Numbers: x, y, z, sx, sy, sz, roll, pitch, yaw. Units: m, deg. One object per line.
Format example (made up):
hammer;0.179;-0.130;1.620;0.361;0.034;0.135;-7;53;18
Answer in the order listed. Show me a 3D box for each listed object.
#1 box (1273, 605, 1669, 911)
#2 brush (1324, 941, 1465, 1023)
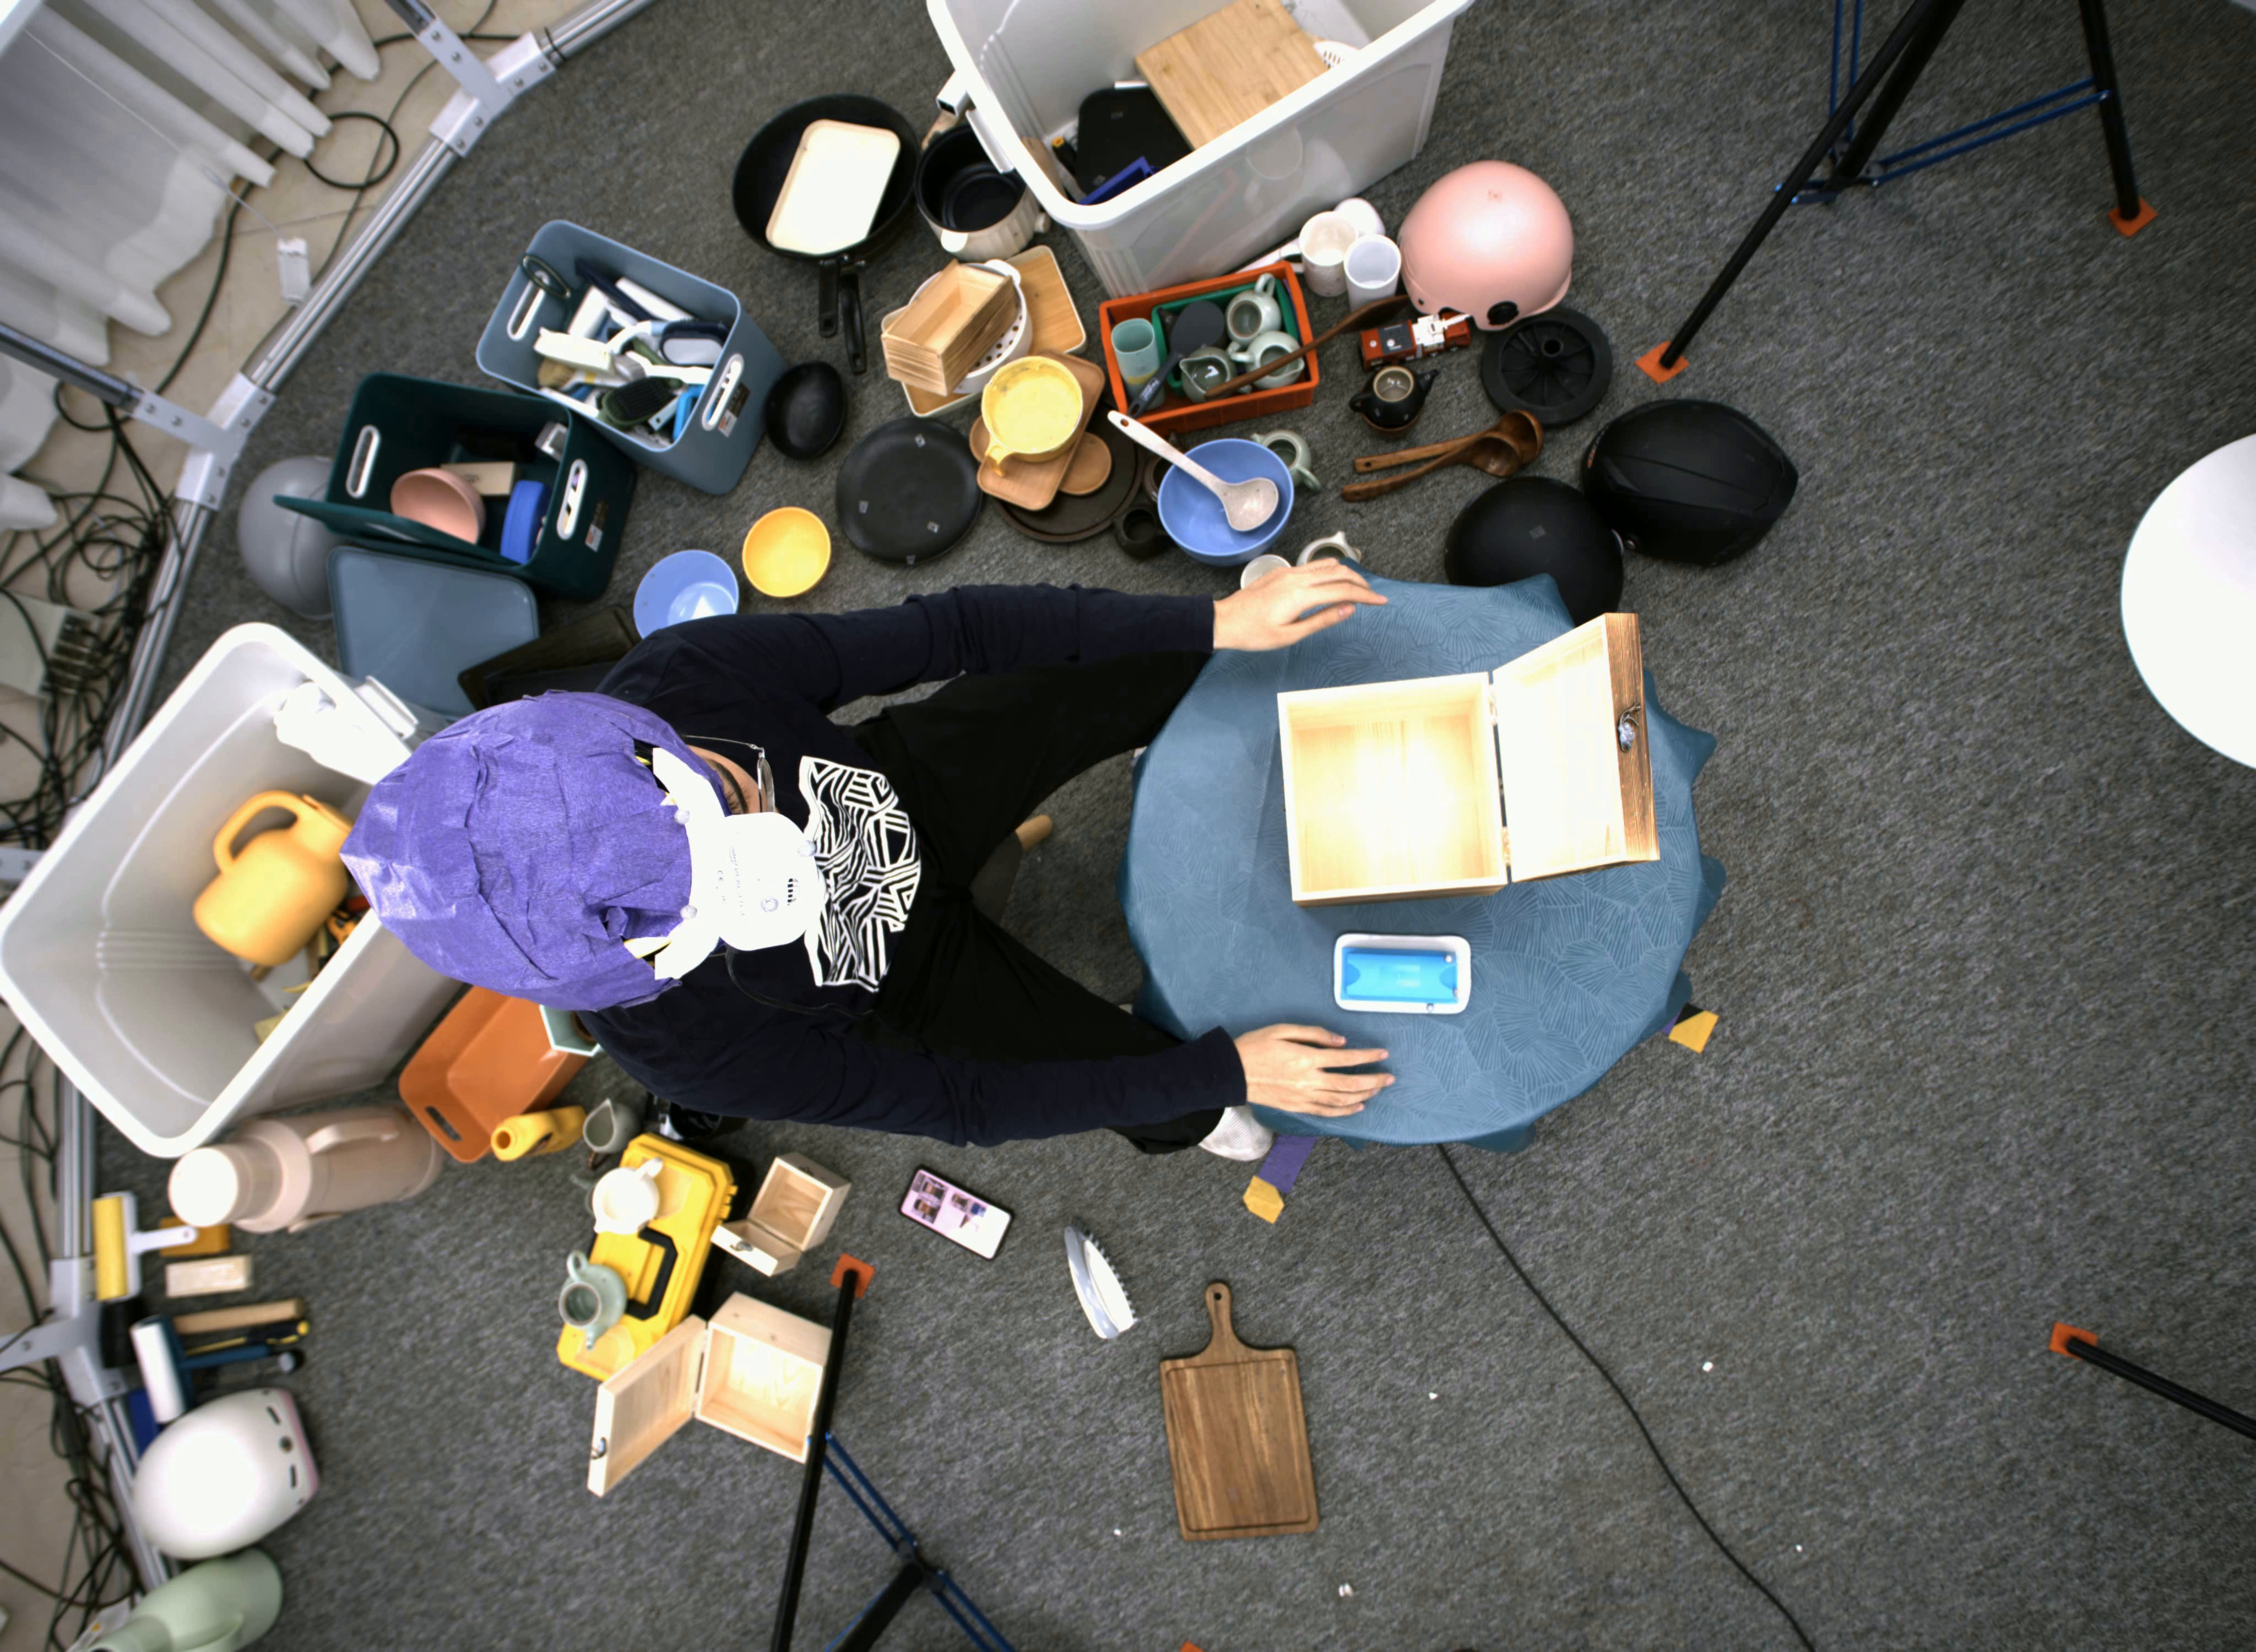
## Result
box;0.295;-0.046;1.277;0.323;0.376;0.207;-5;84;10
brush;0.274;0.158;1.414;0.144;0.056;0.083;1;84;6
